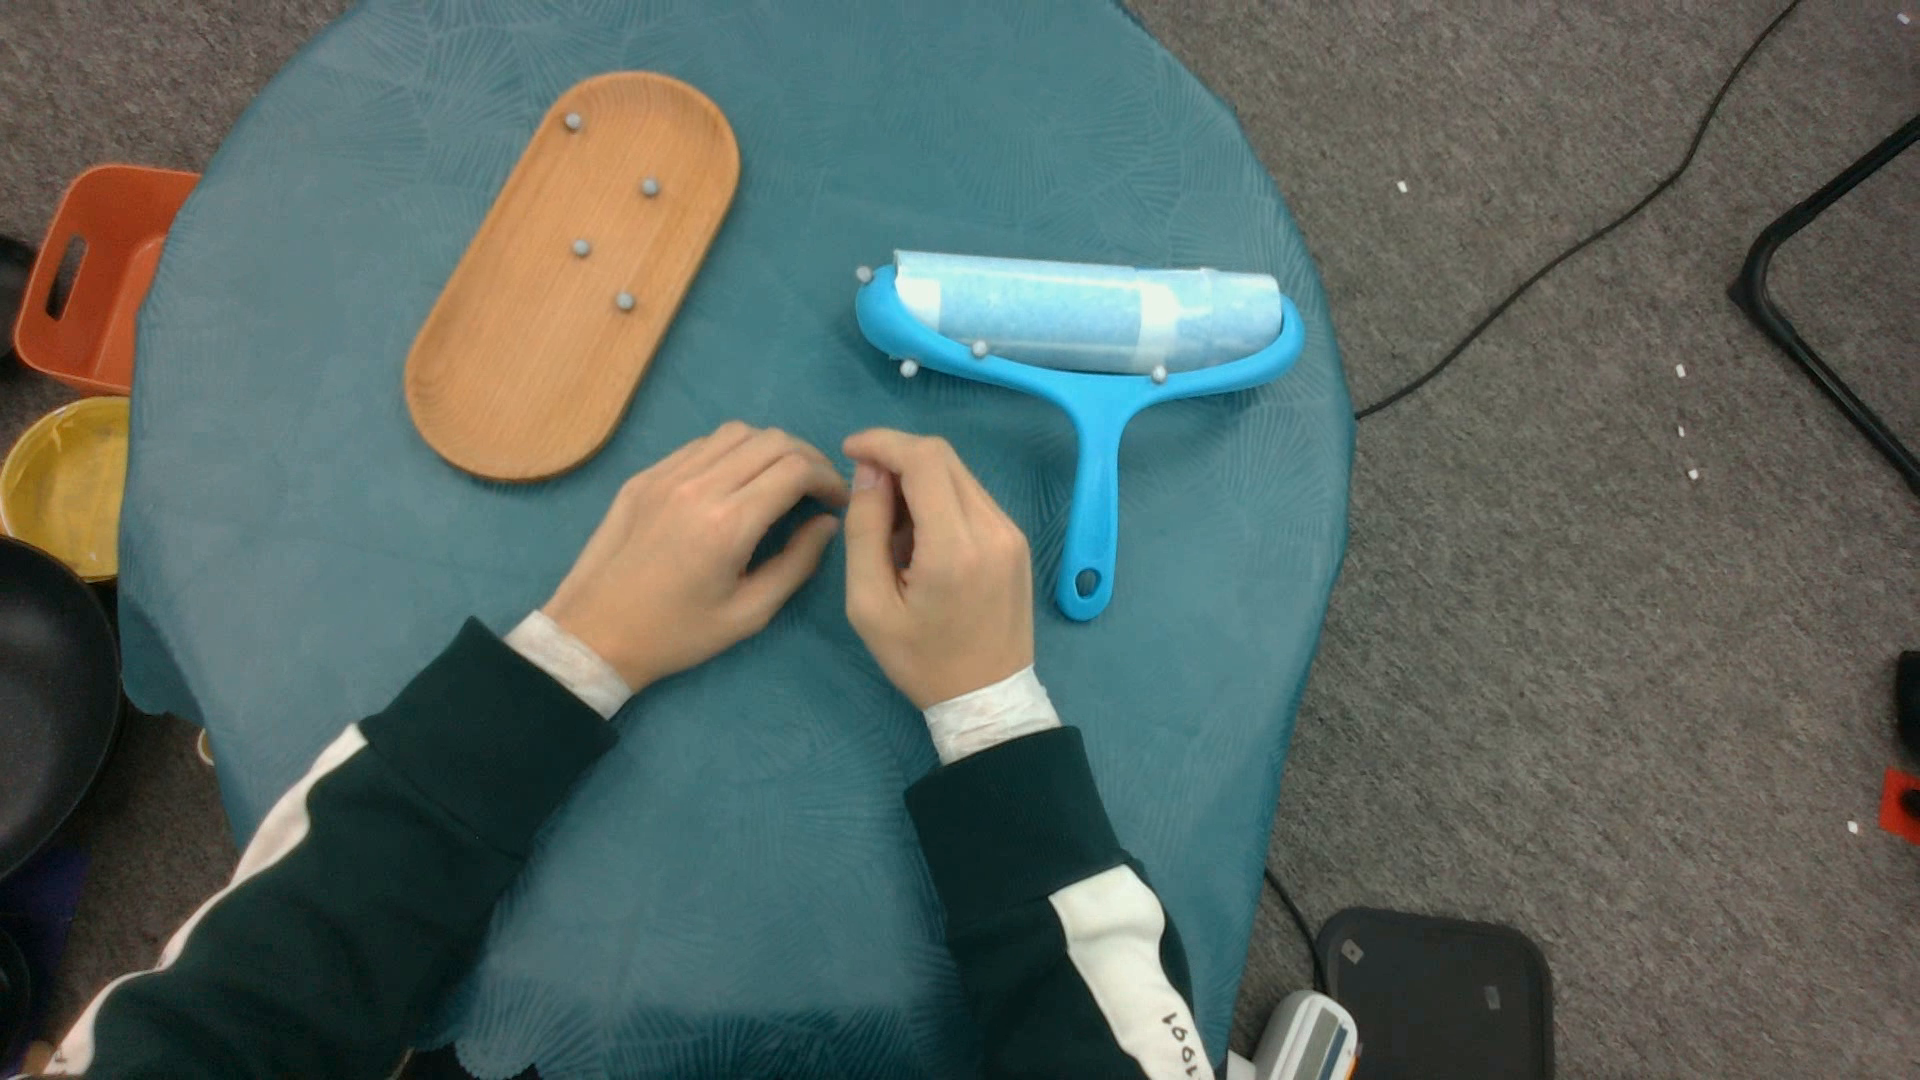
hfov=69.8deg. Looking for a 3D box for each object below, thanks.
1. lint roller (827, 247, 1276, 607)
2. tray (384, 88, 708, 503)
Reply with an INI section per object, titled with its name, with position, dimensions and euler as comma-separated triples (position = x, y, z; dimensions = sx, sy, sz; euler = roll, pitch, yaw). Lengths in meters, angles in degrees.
[lint roller]
position = 0.053, -0.062, 0.676
dimensions = 0.229, 0.067, 0.180
euler = -2, 71, -12
[tray]
position = -0.199, -0.124, 0.676
dimensions = 0.102, 0.020, 0.232
euler = 19, 72, -1
